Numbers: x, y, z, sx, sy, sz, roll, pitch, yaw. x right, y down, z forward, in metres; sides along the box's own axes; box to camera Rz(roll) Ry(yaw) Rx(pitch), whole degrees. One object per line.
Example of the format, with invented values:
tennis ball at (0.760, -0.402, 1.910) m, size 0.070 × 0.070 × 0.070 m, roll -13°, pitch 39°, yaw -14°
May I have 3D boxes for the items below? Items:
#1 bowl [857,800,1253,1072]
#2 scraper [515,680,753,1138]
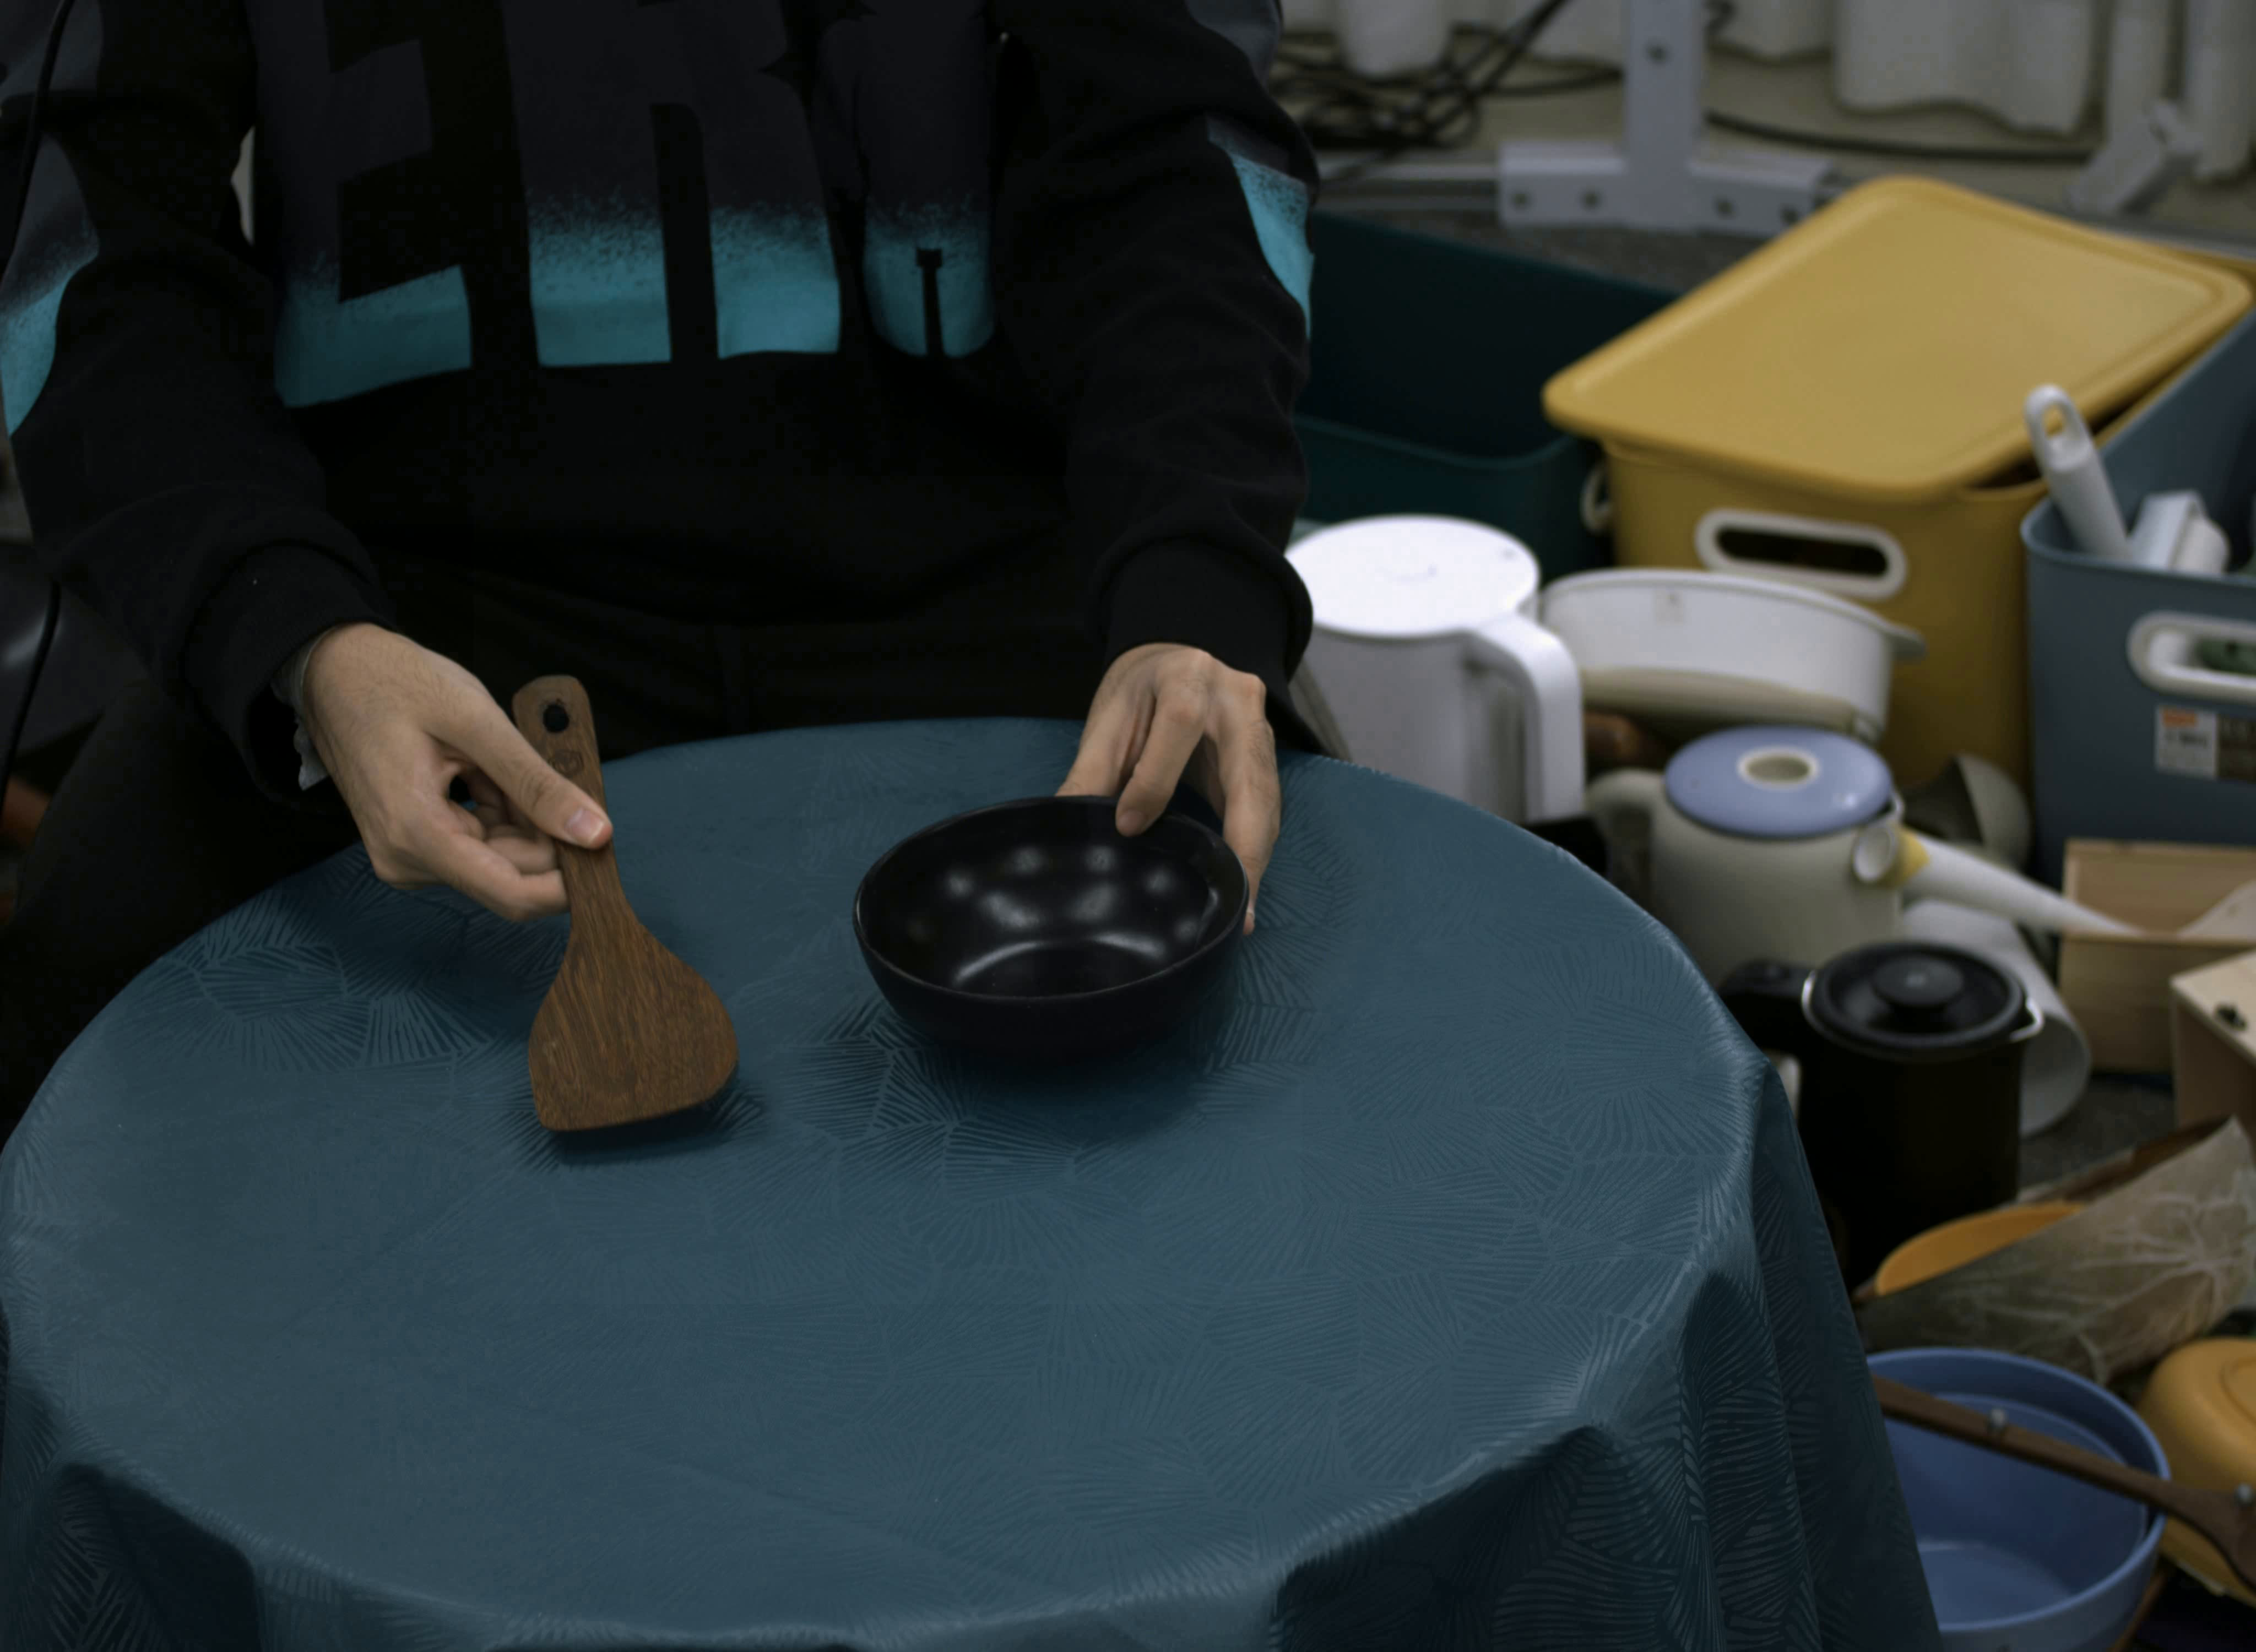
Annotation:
bowl at (-0.023, 0.046, 1.956) m, size 0.139 × 0.049 × 0.142 m, roll -5°, pitch 29°, yaw 3°
scraper at (-0.185, 0.027, 1.968) m, size 0.076 × 0.010 × 0.215 m, roll -11°, pitch 49°, yaw -8°
